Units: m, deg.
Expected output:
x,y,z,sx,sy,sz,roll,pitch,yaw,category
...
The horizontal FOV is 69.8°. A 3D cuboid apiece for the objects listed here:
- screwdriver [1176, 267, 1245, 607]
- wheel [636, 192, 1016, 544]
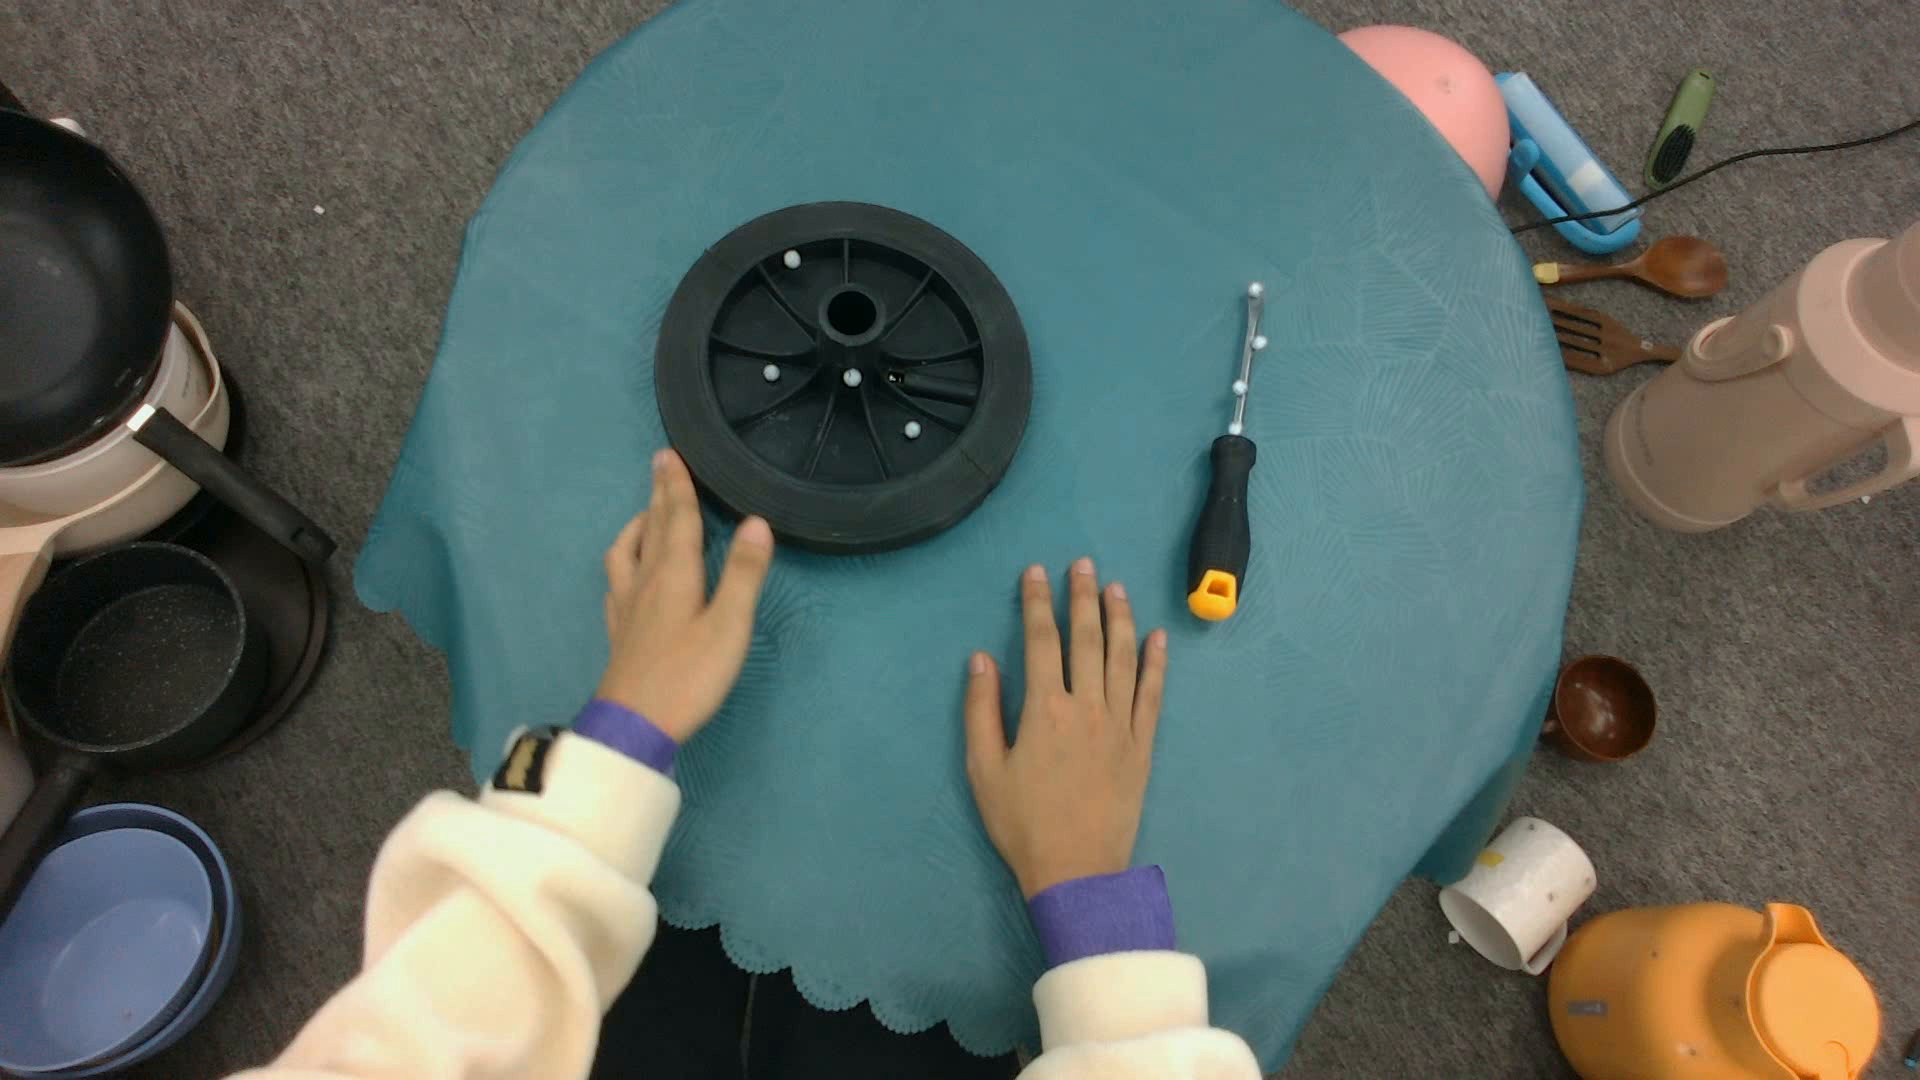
x,y,z,sx,sy,sz,roll,pitch,yaw,category
0.138,-0.058,0.712,0.031,0.031,0.198,15,67,-2,screwdriver
-0.062,-0.096,0.671,0.190,0.079,0.188,-12,73,-15,wheel
